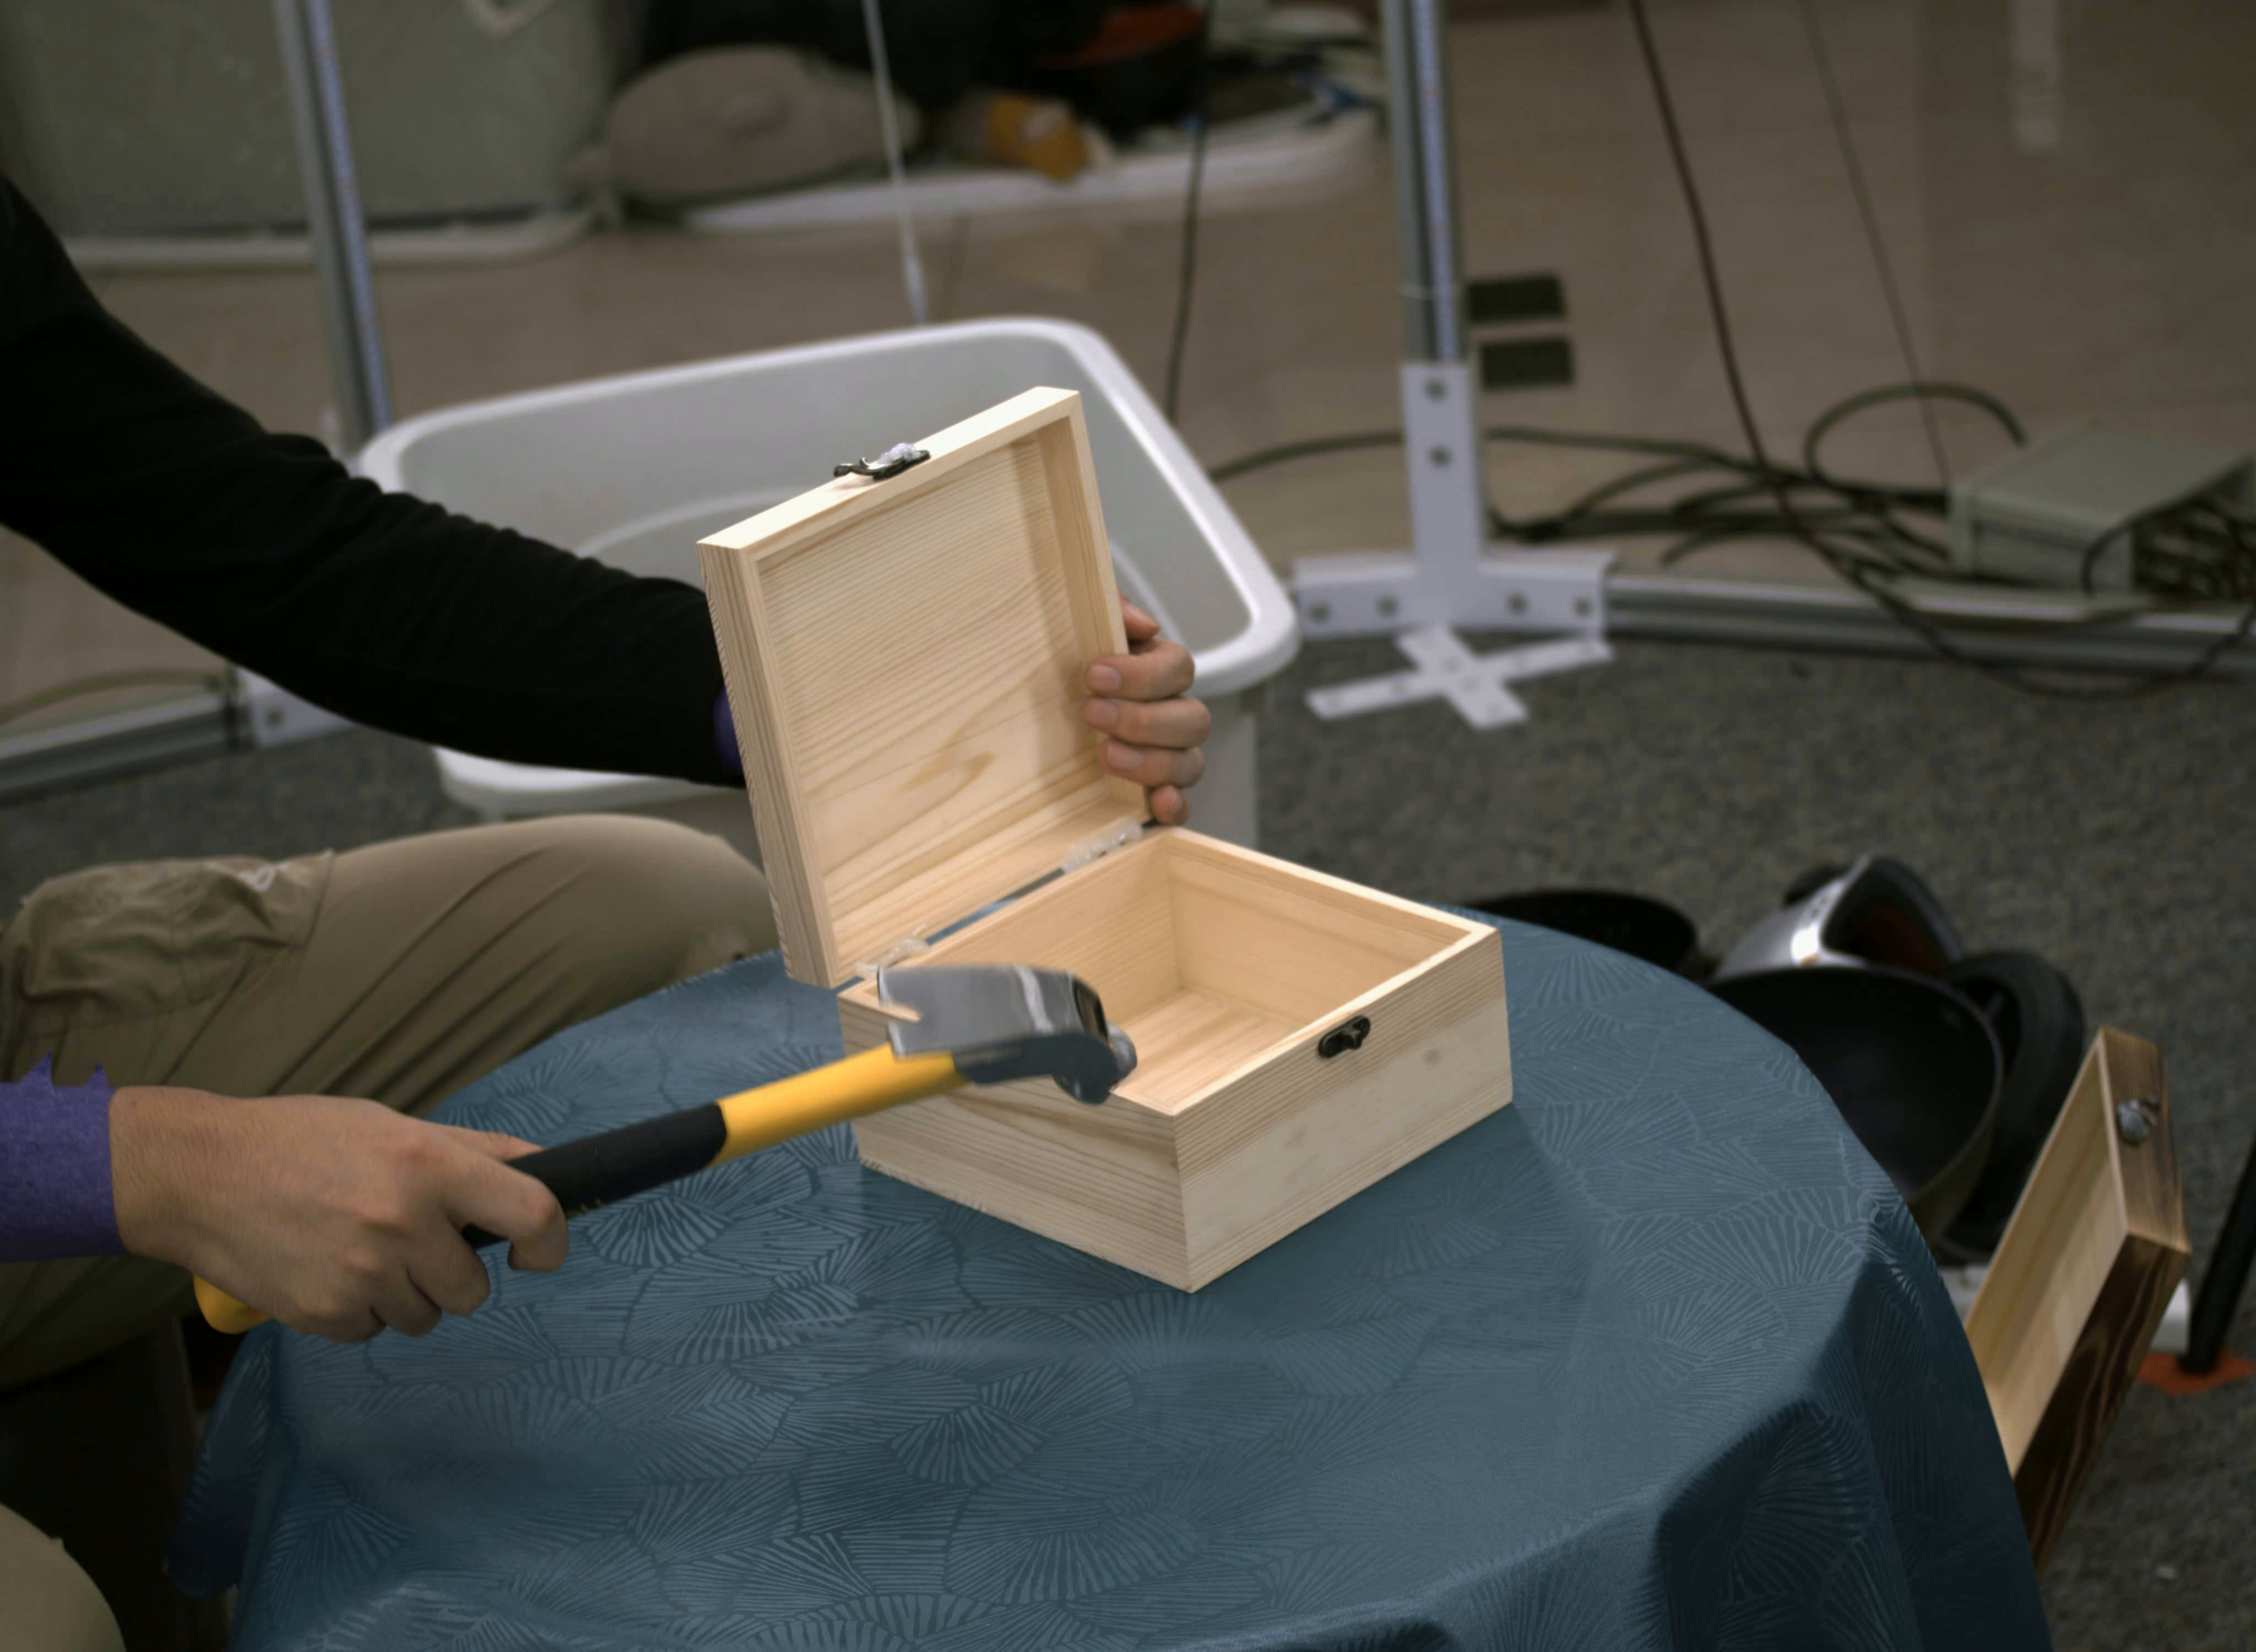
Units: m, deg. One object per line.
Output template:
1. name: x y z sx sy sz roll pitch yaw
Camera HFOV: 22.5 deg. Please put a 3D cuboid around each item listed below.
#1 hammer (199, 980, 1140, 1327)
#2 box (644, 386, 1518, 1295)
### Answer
1. hammer: -0.170 0.117 1.996 0.338 0.032 0.132 -17 -18 12
2. box: -0.014 -0.001 2.153 0.263 0.257 0.180 19 37 41
